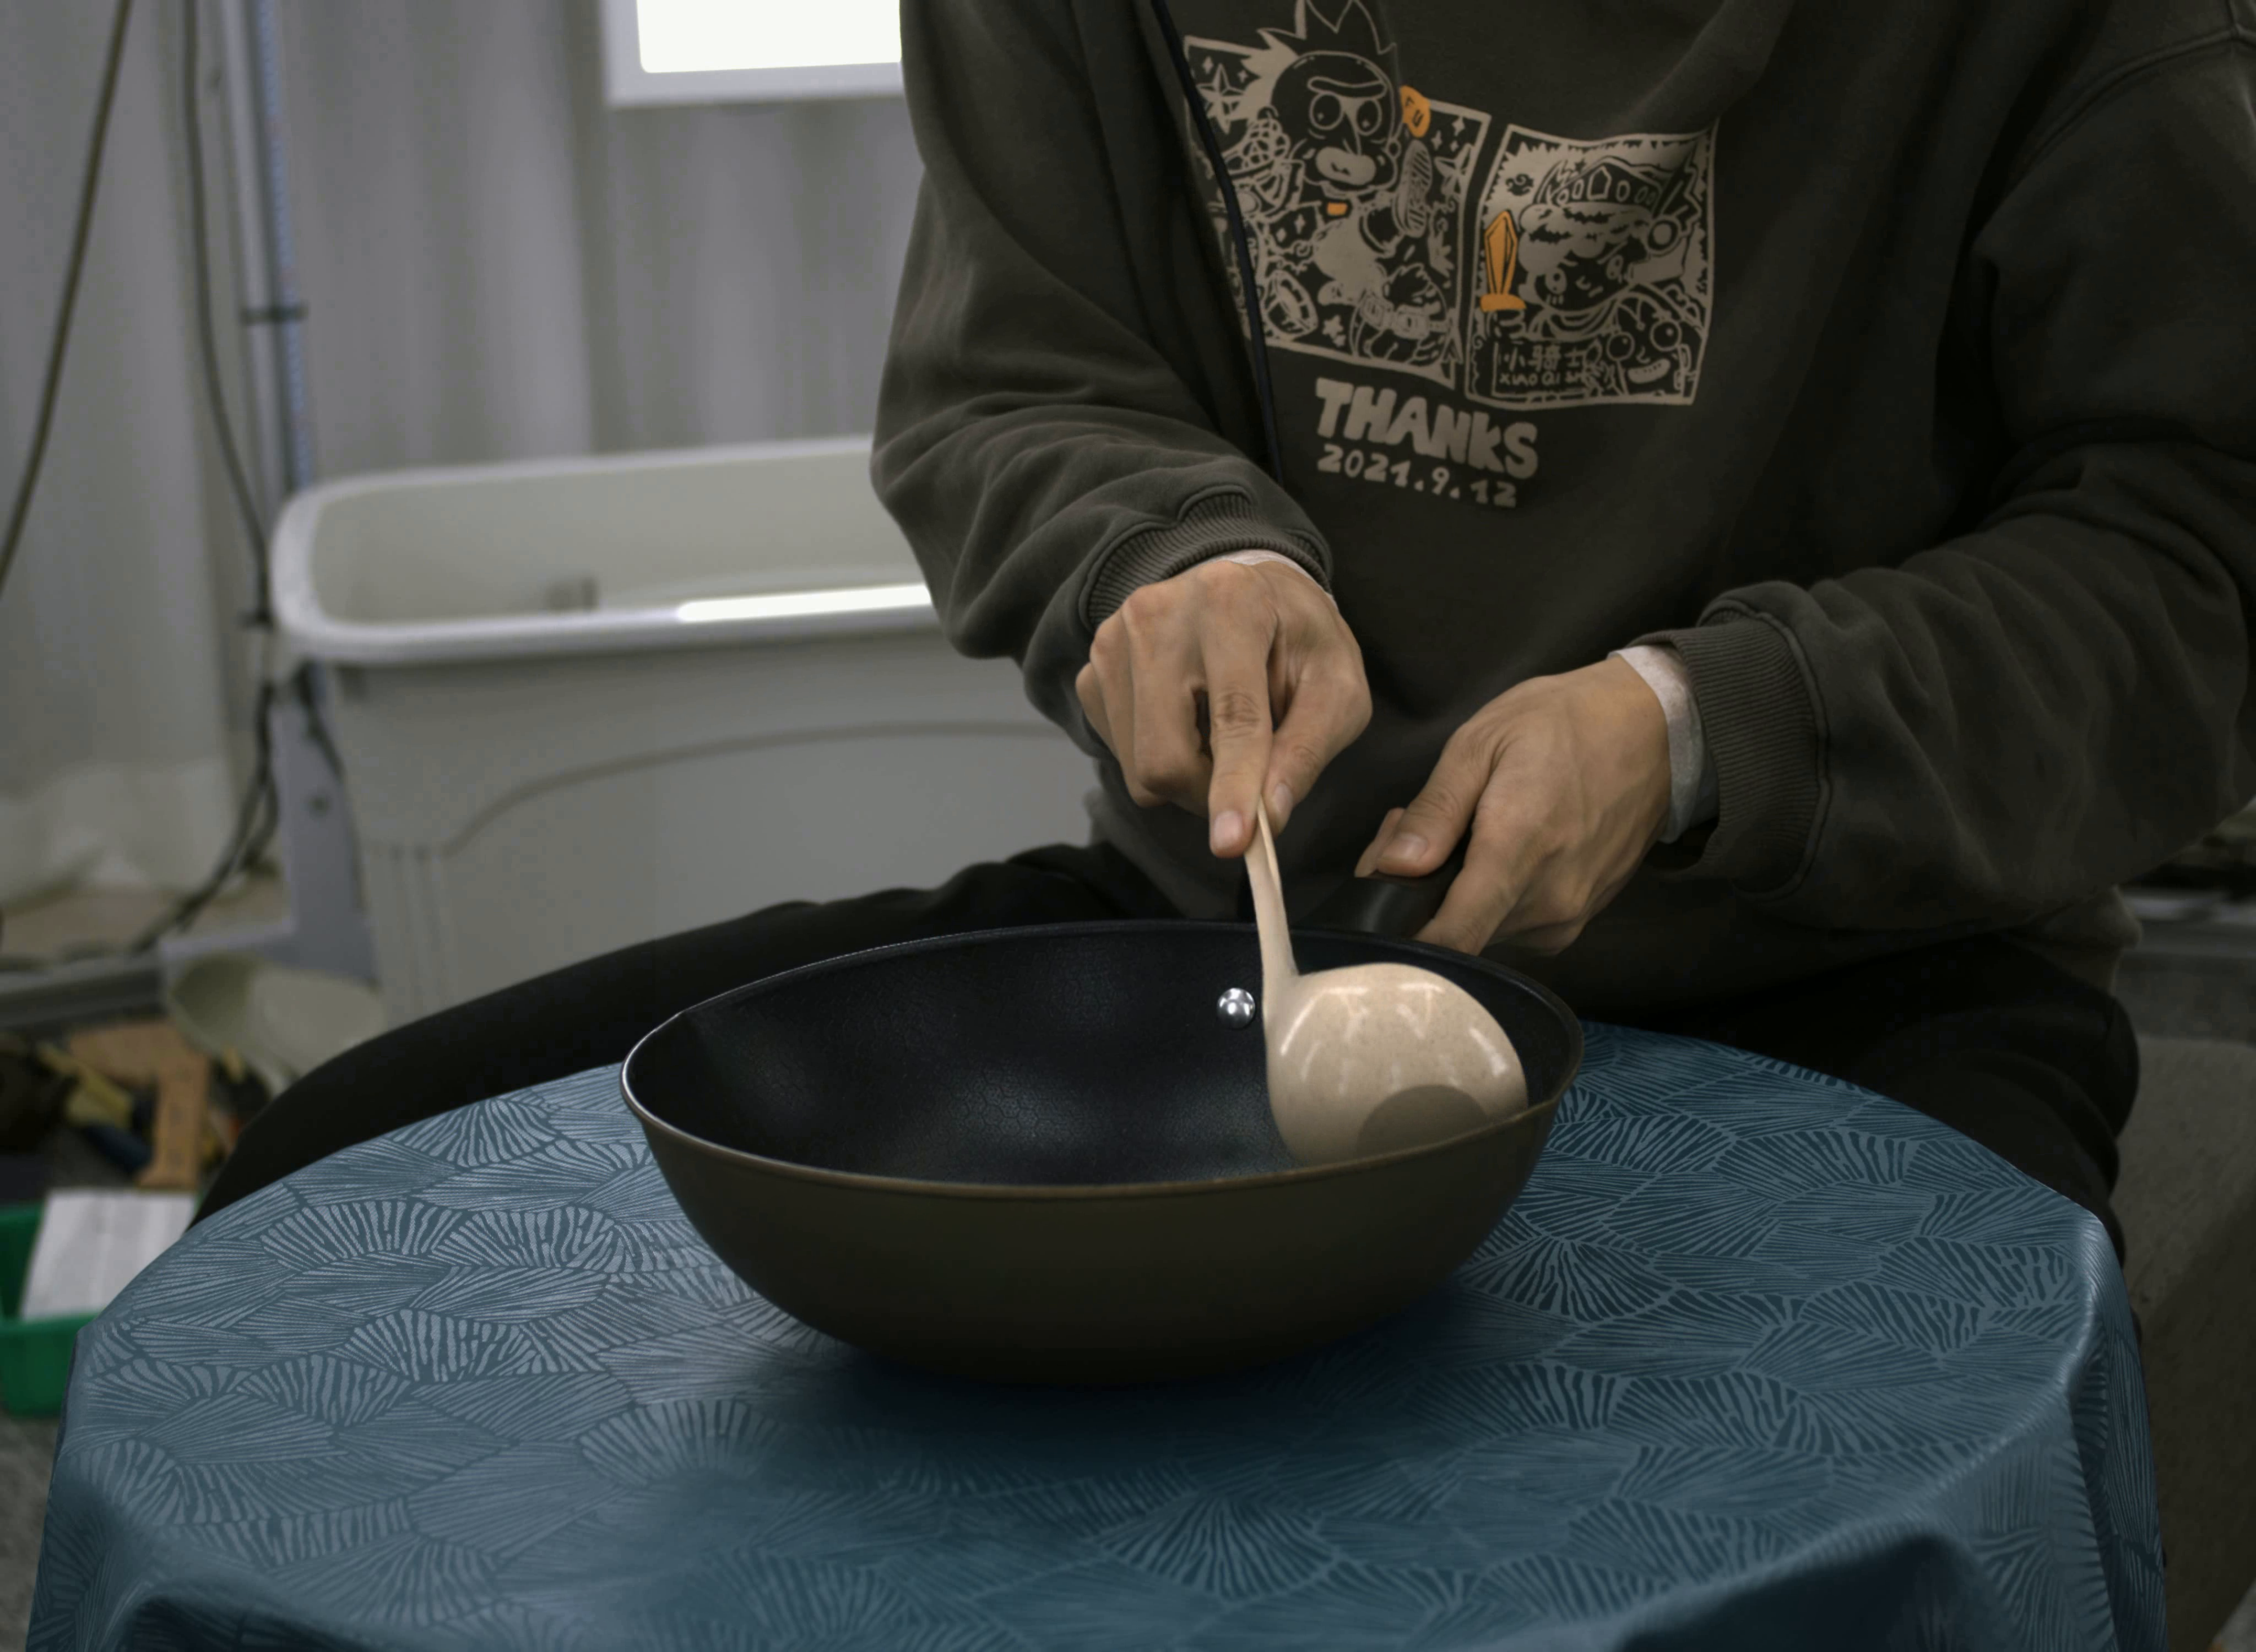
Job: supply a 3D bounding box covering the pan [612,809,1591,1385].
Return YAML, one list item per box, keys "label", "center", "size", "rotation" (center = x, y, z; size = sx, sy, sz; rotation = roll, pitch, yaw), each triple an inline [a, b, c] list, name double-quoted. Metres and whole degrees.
- label: "pan"
  center: [0.034, 0.081, 1.687]
  size: [0.289, 0.086, 0.463]
  rotation: [5, 15, 28]

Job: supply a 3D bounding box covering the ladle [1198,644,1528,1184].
- label: "ladle"
  center: [0.068, 0.024, 1.654]
  size: [0.072, 0.071, 0.258]
  rotation: [18, 28, -16]
